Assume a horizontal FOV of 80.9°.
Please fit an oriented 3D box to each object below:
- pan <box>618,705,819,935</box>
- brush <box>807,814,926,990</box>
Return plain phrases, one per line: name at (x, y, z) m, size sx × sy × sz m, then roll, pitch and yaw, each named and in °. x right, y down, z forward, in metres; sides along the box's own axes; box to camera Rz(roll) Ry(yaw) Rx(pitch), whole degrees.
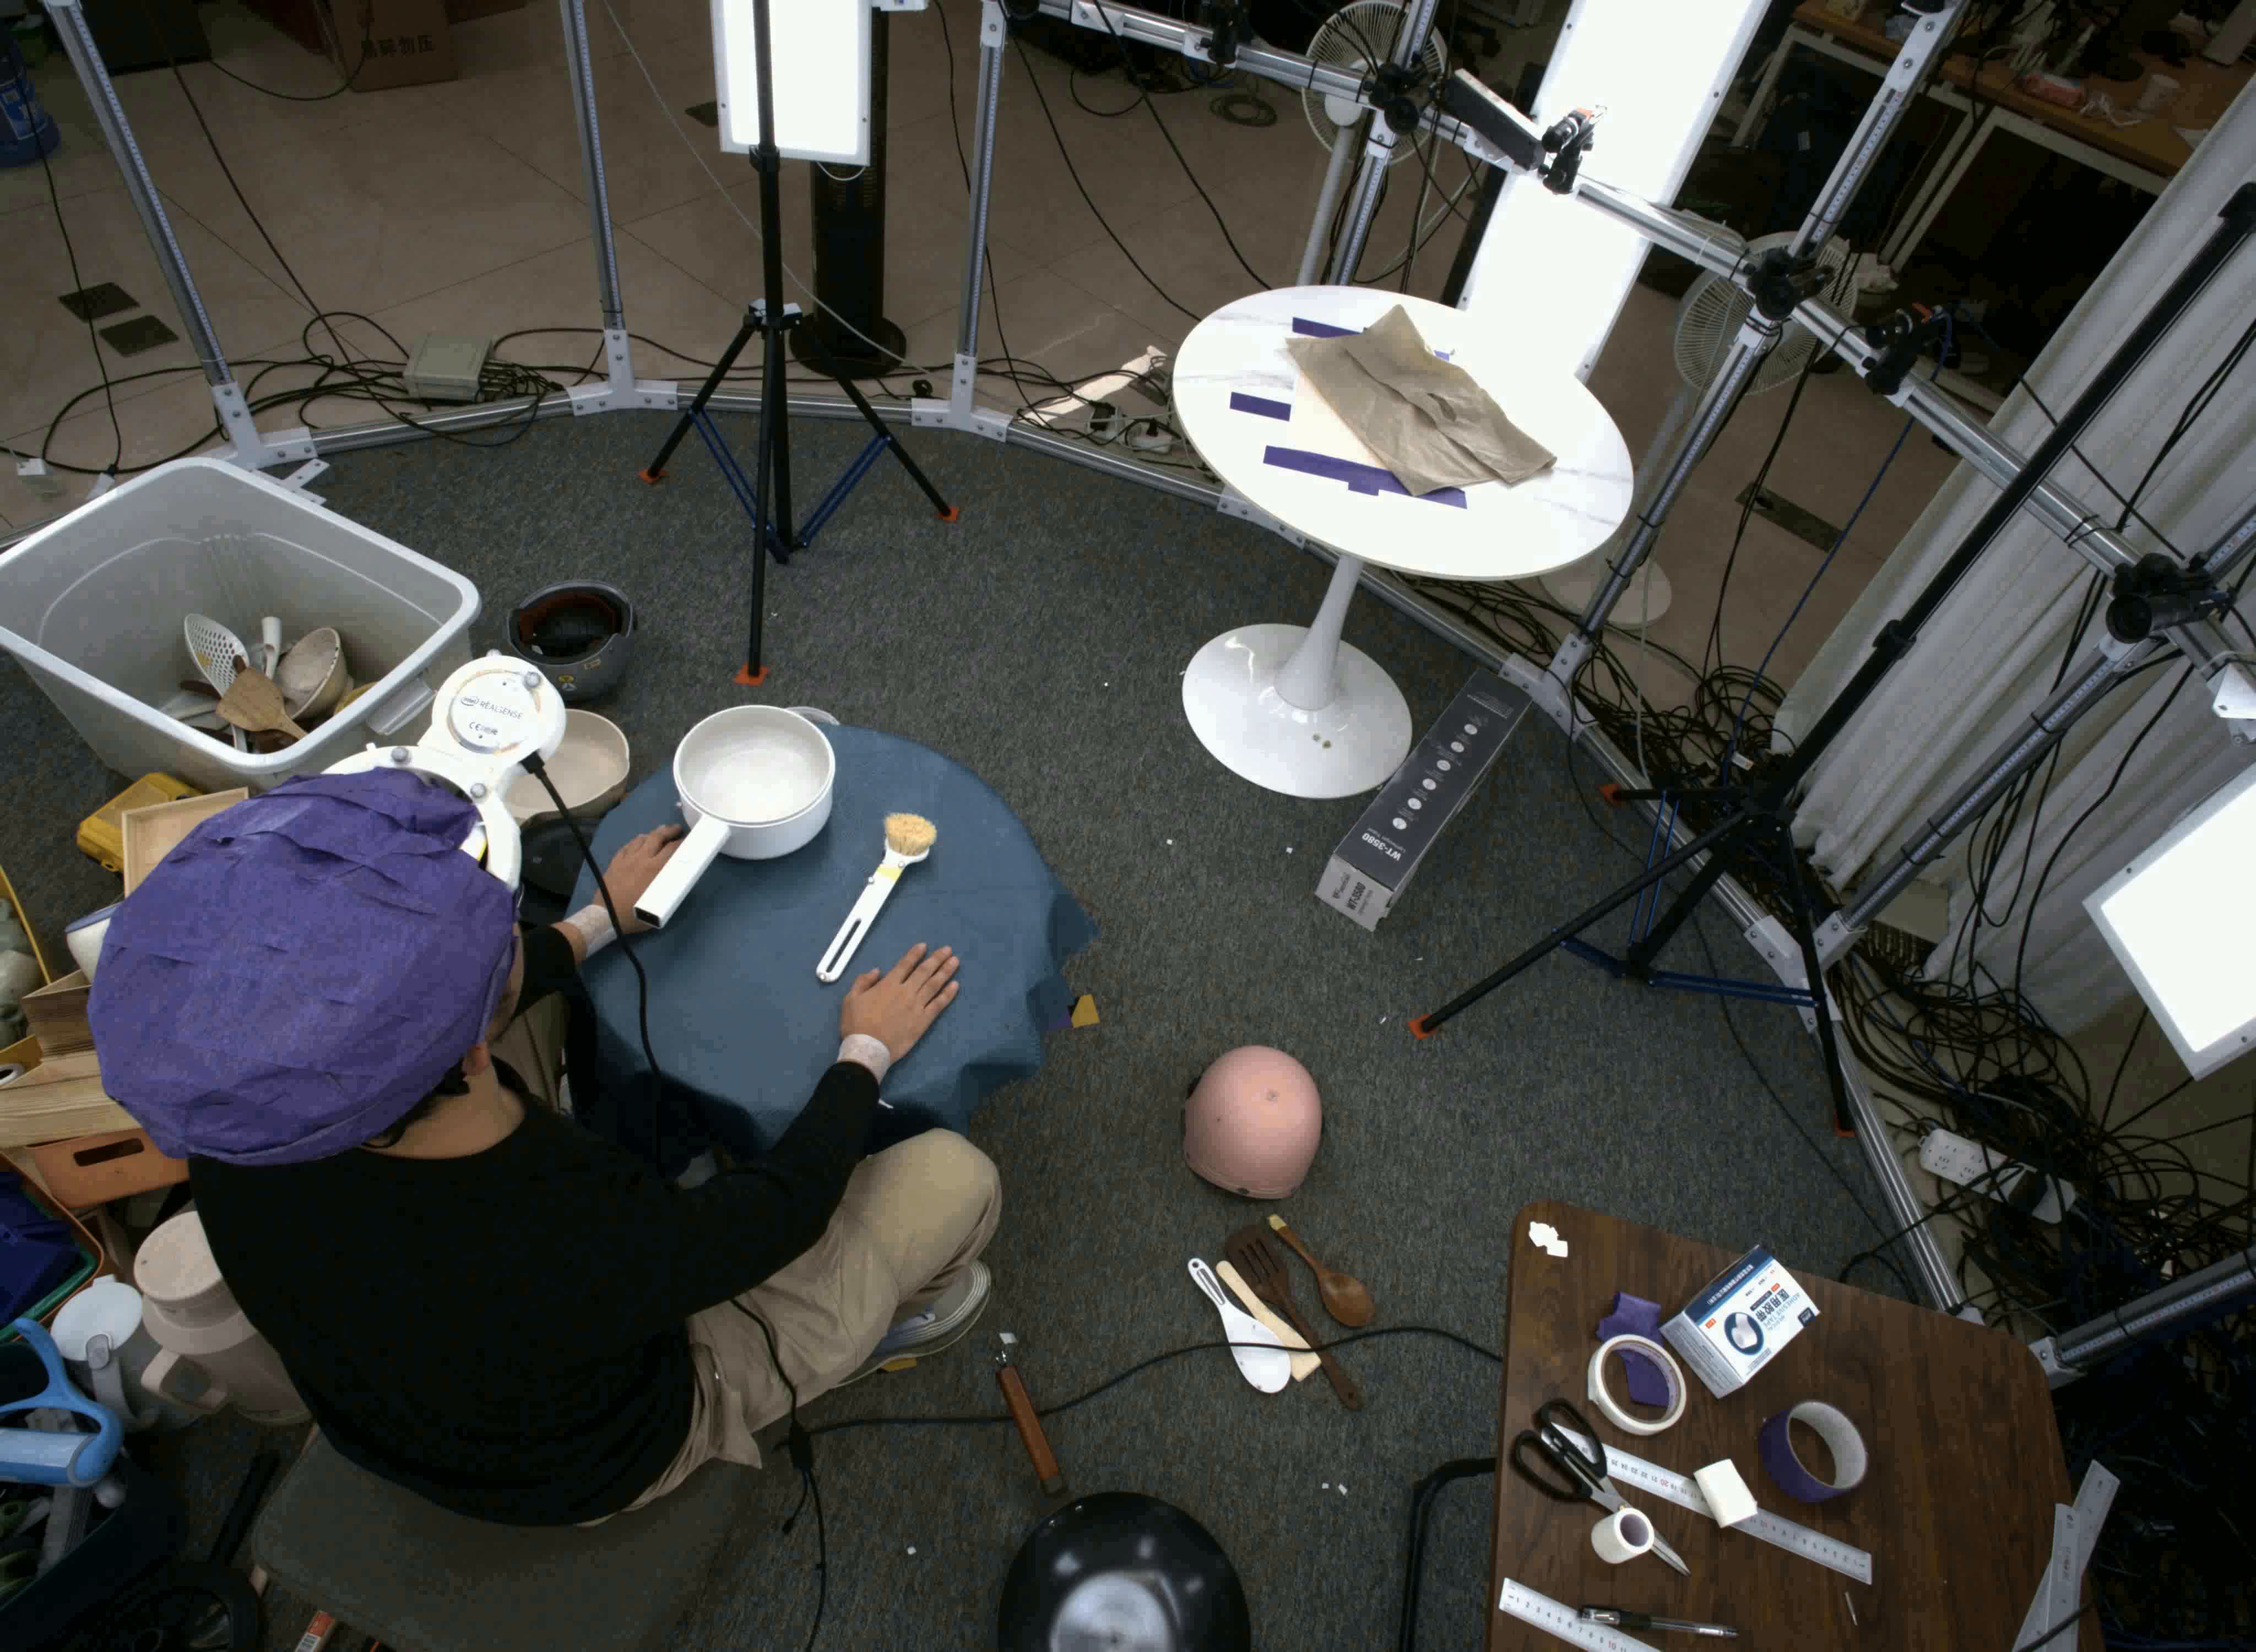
pan at (-0.525, 0.006, 1.625) m, size 0.199 × 0.104 × 0.351 m, roll 22°, pitch 52°, yaw 2°
brush at (-0.334, 0.087, 1.643) m, size 0.067 × 0.057 × 0.264 m, roll 21°, pitch 52°, yaw 8°
